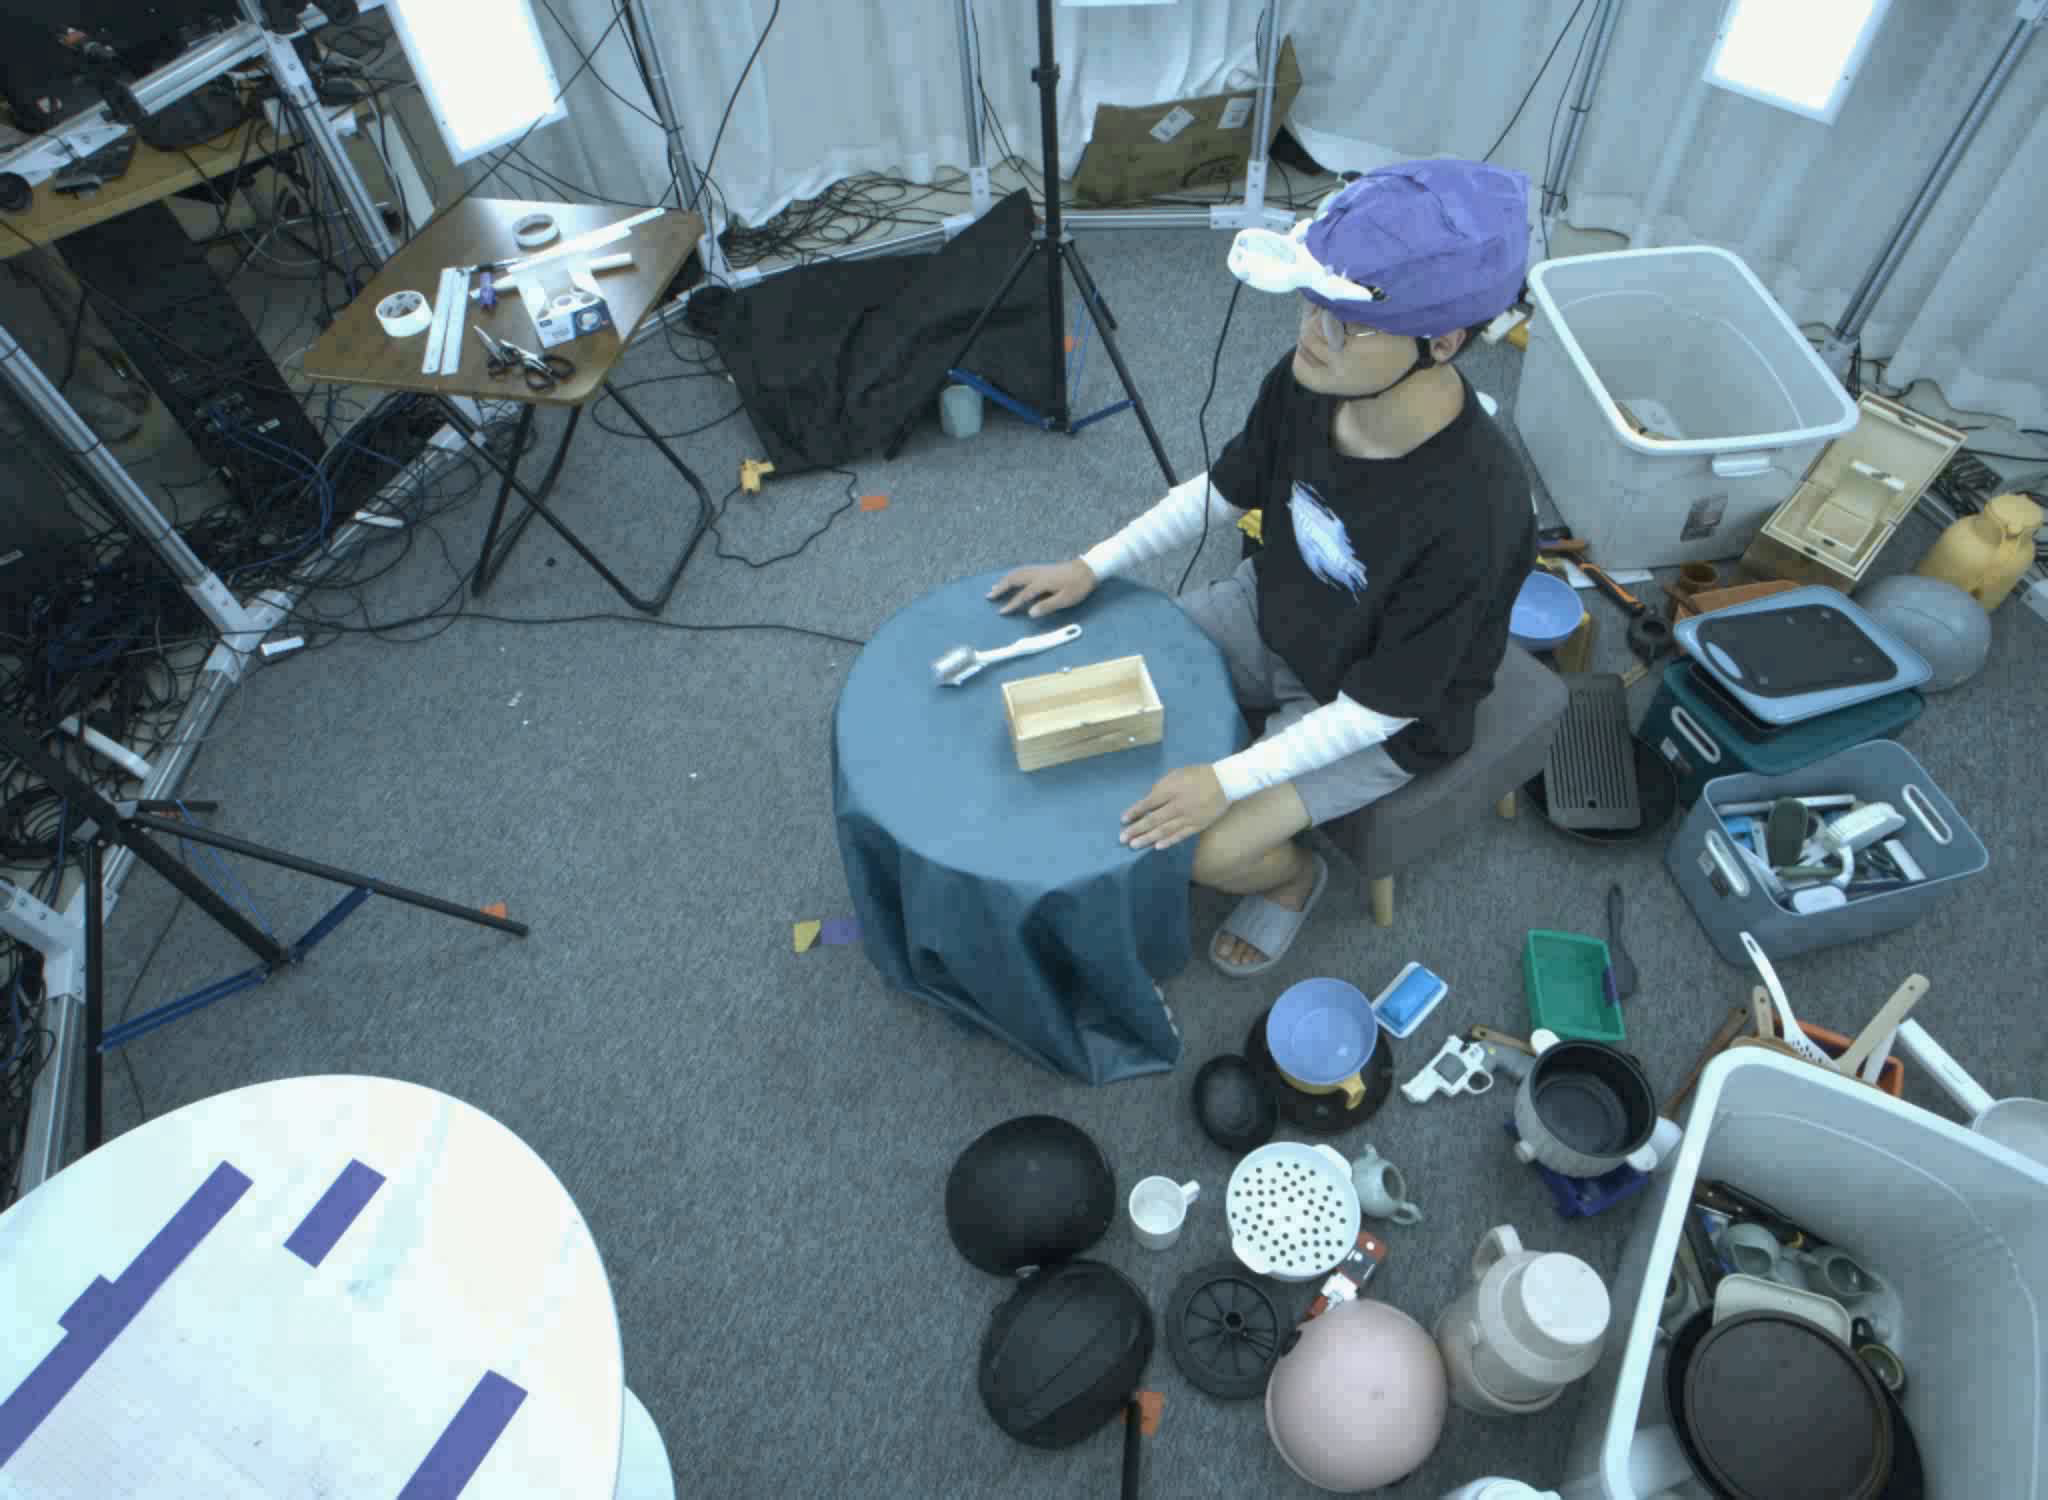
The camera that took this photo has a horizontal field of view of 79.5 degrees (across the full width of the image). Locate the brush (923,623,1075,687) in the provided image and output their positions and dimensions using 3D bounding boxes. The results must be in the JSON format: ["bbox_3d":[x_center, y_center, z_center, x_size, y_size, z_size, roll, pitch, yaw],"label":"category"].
[{"bbox_3d":[-0.036,-0.158,1.862,0.245,0.051,0.034,-21,56,-12],"label":"brush"}]

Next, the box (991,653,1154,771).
[{"bbox_3d":[0.070,-0.056,1.767,0.212,0.081,0.106,-13,54,-8],"label":"box"}]
